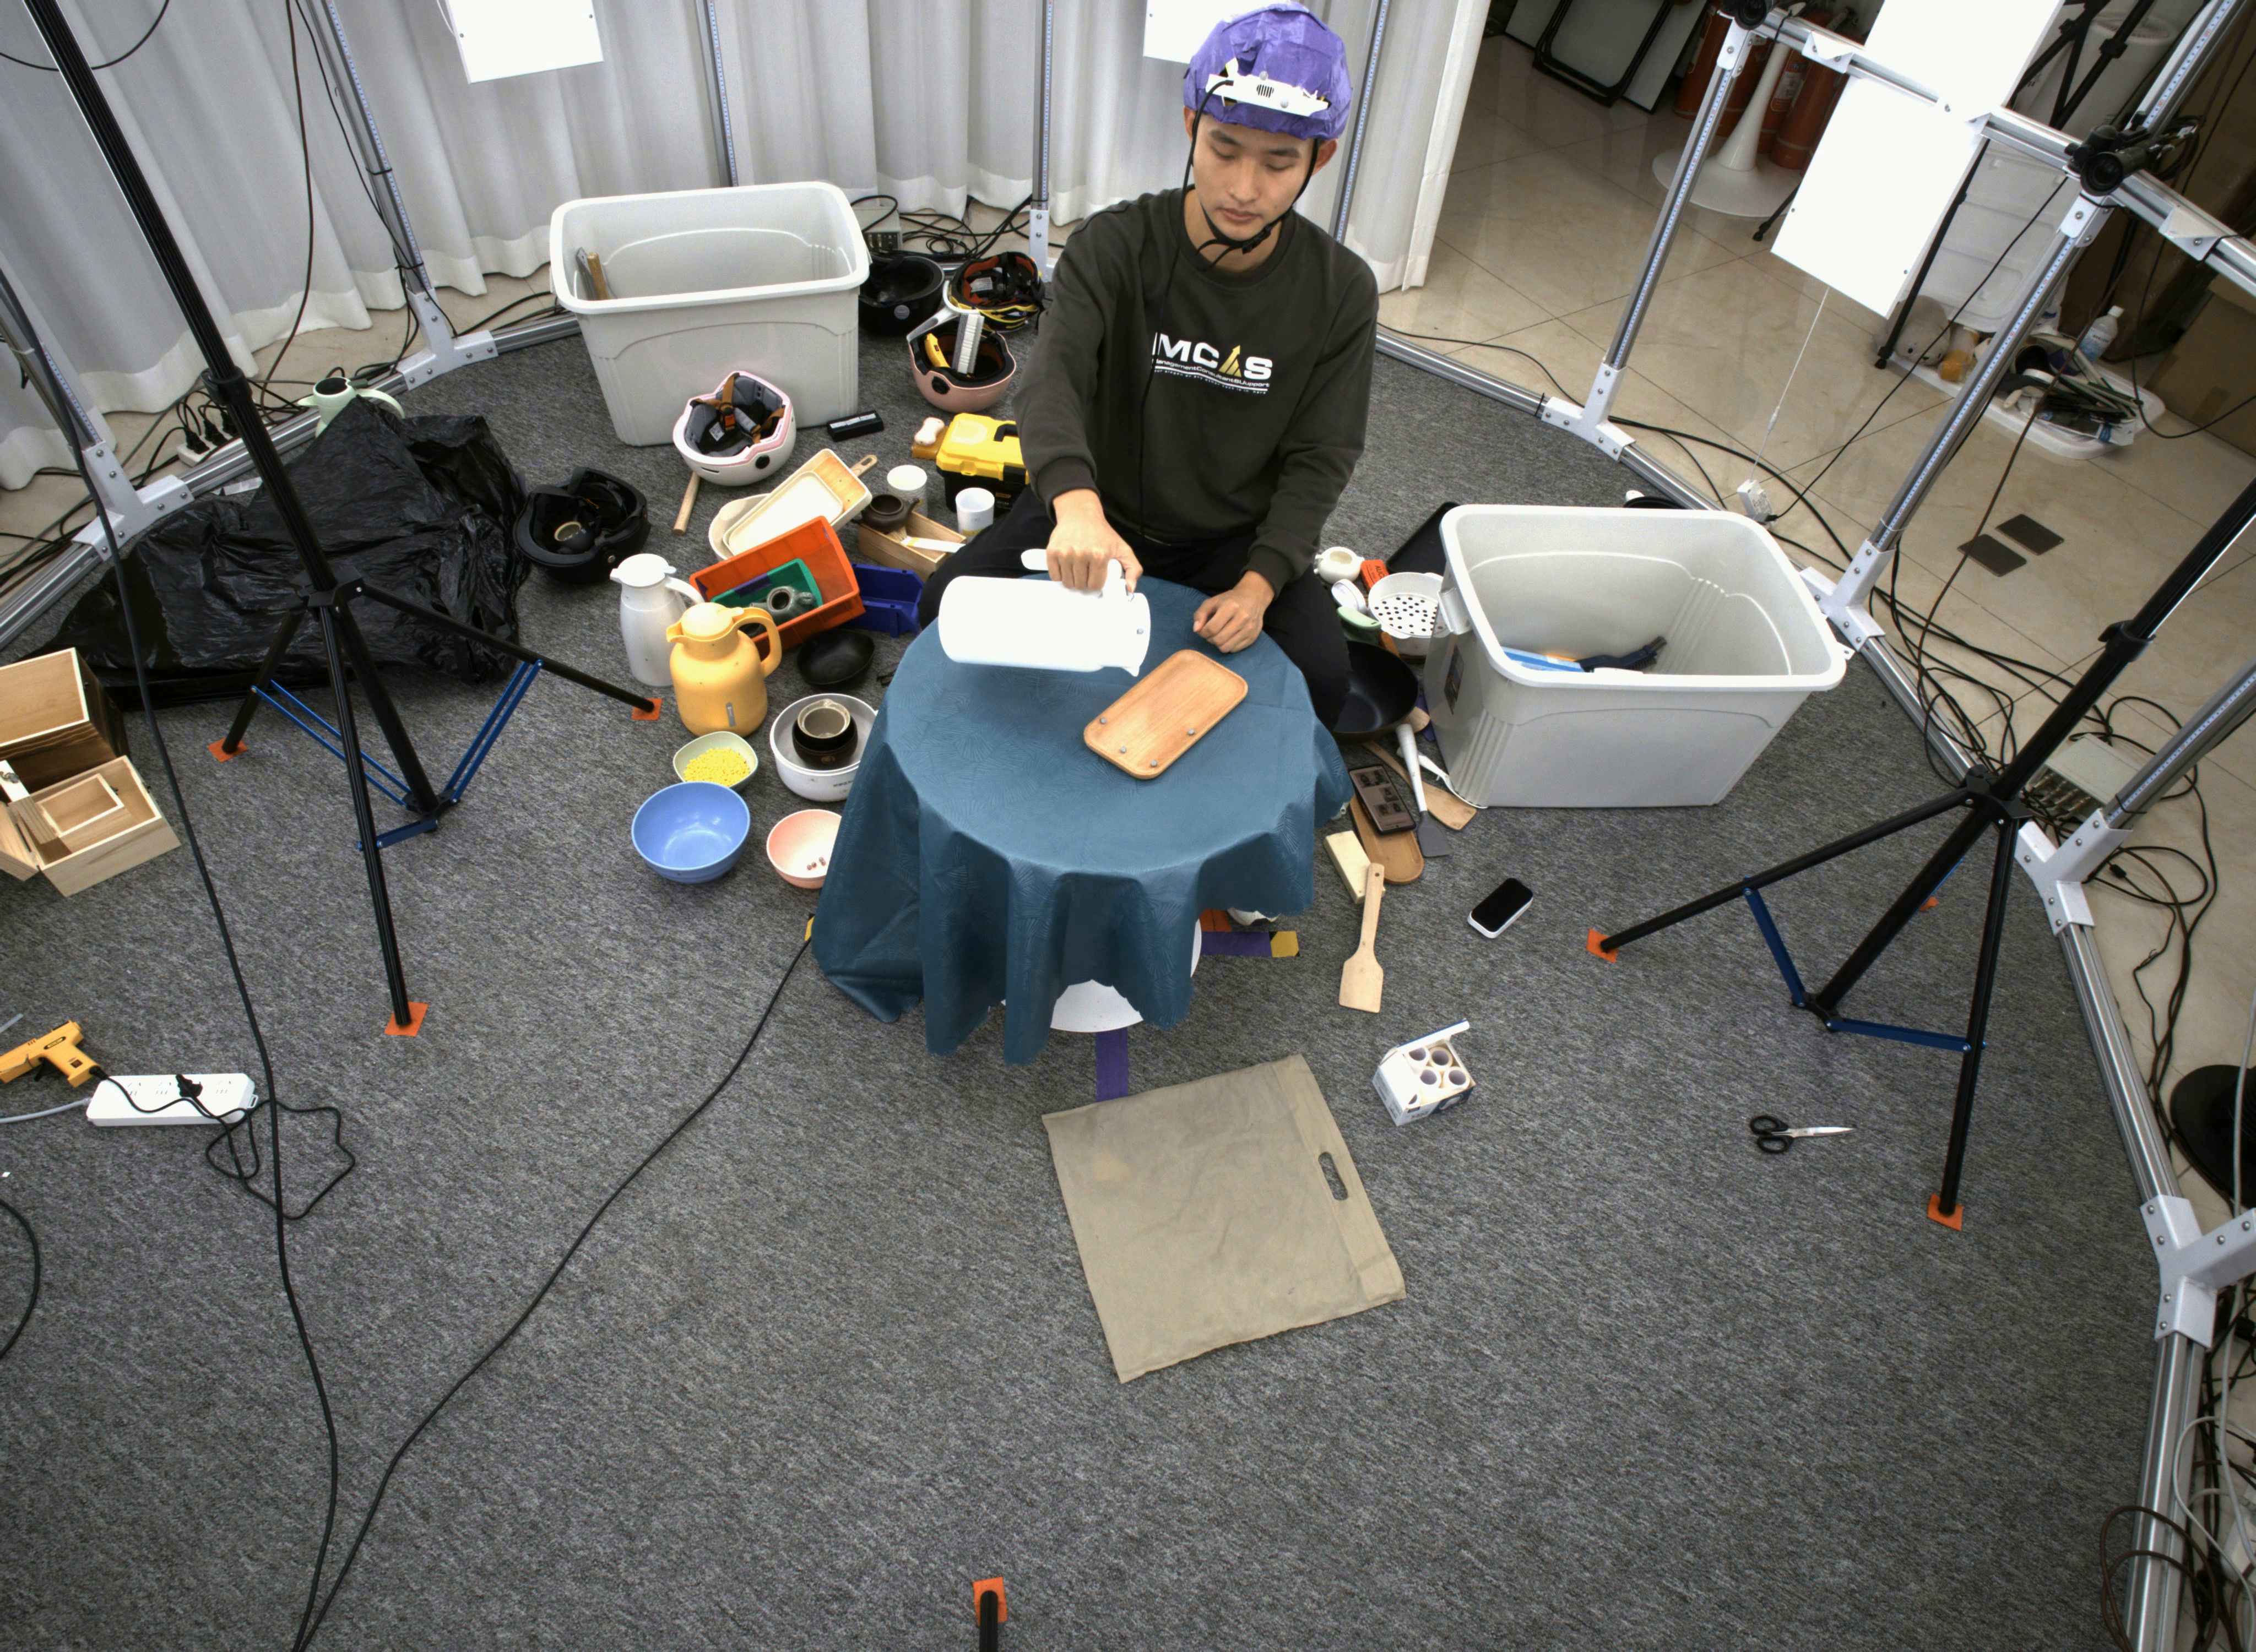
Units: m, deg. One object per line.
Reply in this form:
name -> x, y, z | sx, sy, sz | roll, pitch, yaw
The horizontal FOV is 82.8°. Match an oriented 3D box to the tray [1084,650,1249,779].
tray -> 0.056, -0.159, 1.797 | 0.132, 0.022, 0.253 | 35, 55, 21

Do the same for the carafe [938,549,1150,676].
carafe -> -0.113, -0.281, 1.701 | 0.270, 0.169, 0.126 | 7, 40, 21
